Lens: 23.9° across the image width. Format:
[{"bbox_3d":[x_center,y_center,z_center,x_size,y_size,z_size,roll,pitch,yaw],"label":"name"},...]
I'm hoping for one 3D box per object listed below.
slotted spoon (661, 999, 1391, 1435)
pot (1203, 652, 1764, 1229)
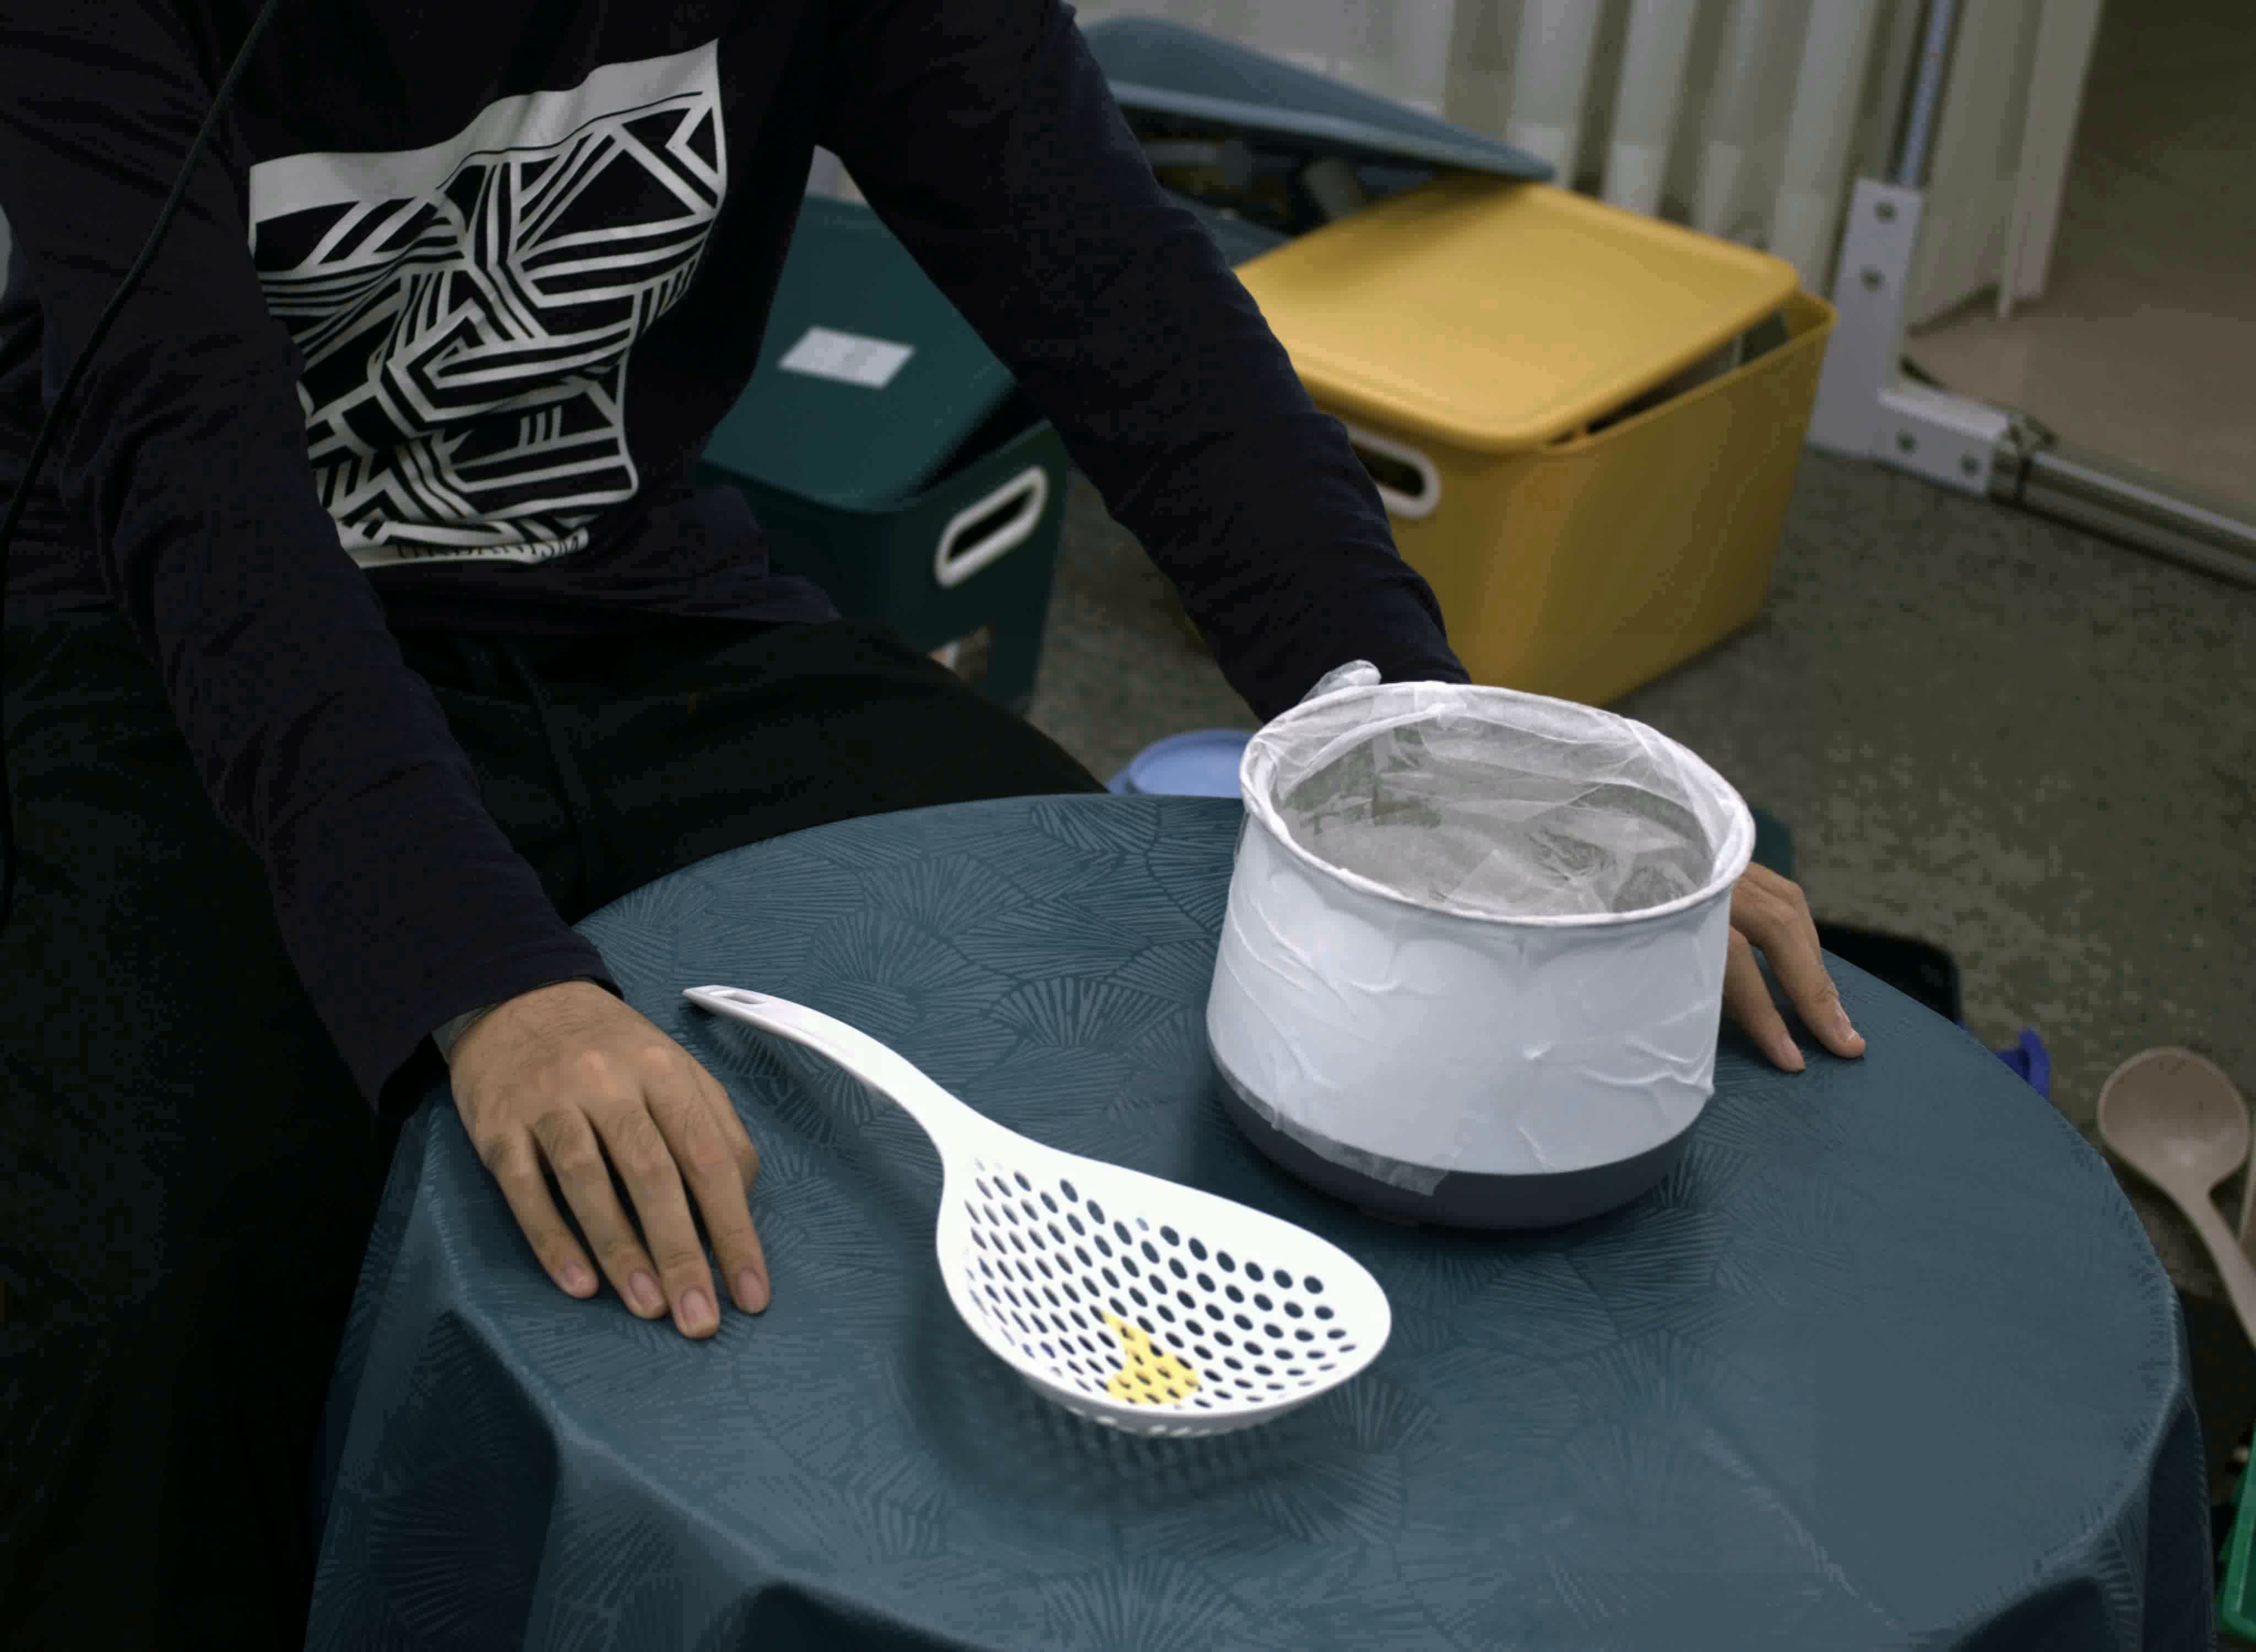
[{"bbox_3d":[-0.052,0.116,1.760,0.136,0.050,0.351,-14,34,-33],"label":"slotted spoon"},{"bbox_3d":[0.106,0.033,1.855,0.177,0.136,0.236,-5,30,-28],"label":"pot"}]
